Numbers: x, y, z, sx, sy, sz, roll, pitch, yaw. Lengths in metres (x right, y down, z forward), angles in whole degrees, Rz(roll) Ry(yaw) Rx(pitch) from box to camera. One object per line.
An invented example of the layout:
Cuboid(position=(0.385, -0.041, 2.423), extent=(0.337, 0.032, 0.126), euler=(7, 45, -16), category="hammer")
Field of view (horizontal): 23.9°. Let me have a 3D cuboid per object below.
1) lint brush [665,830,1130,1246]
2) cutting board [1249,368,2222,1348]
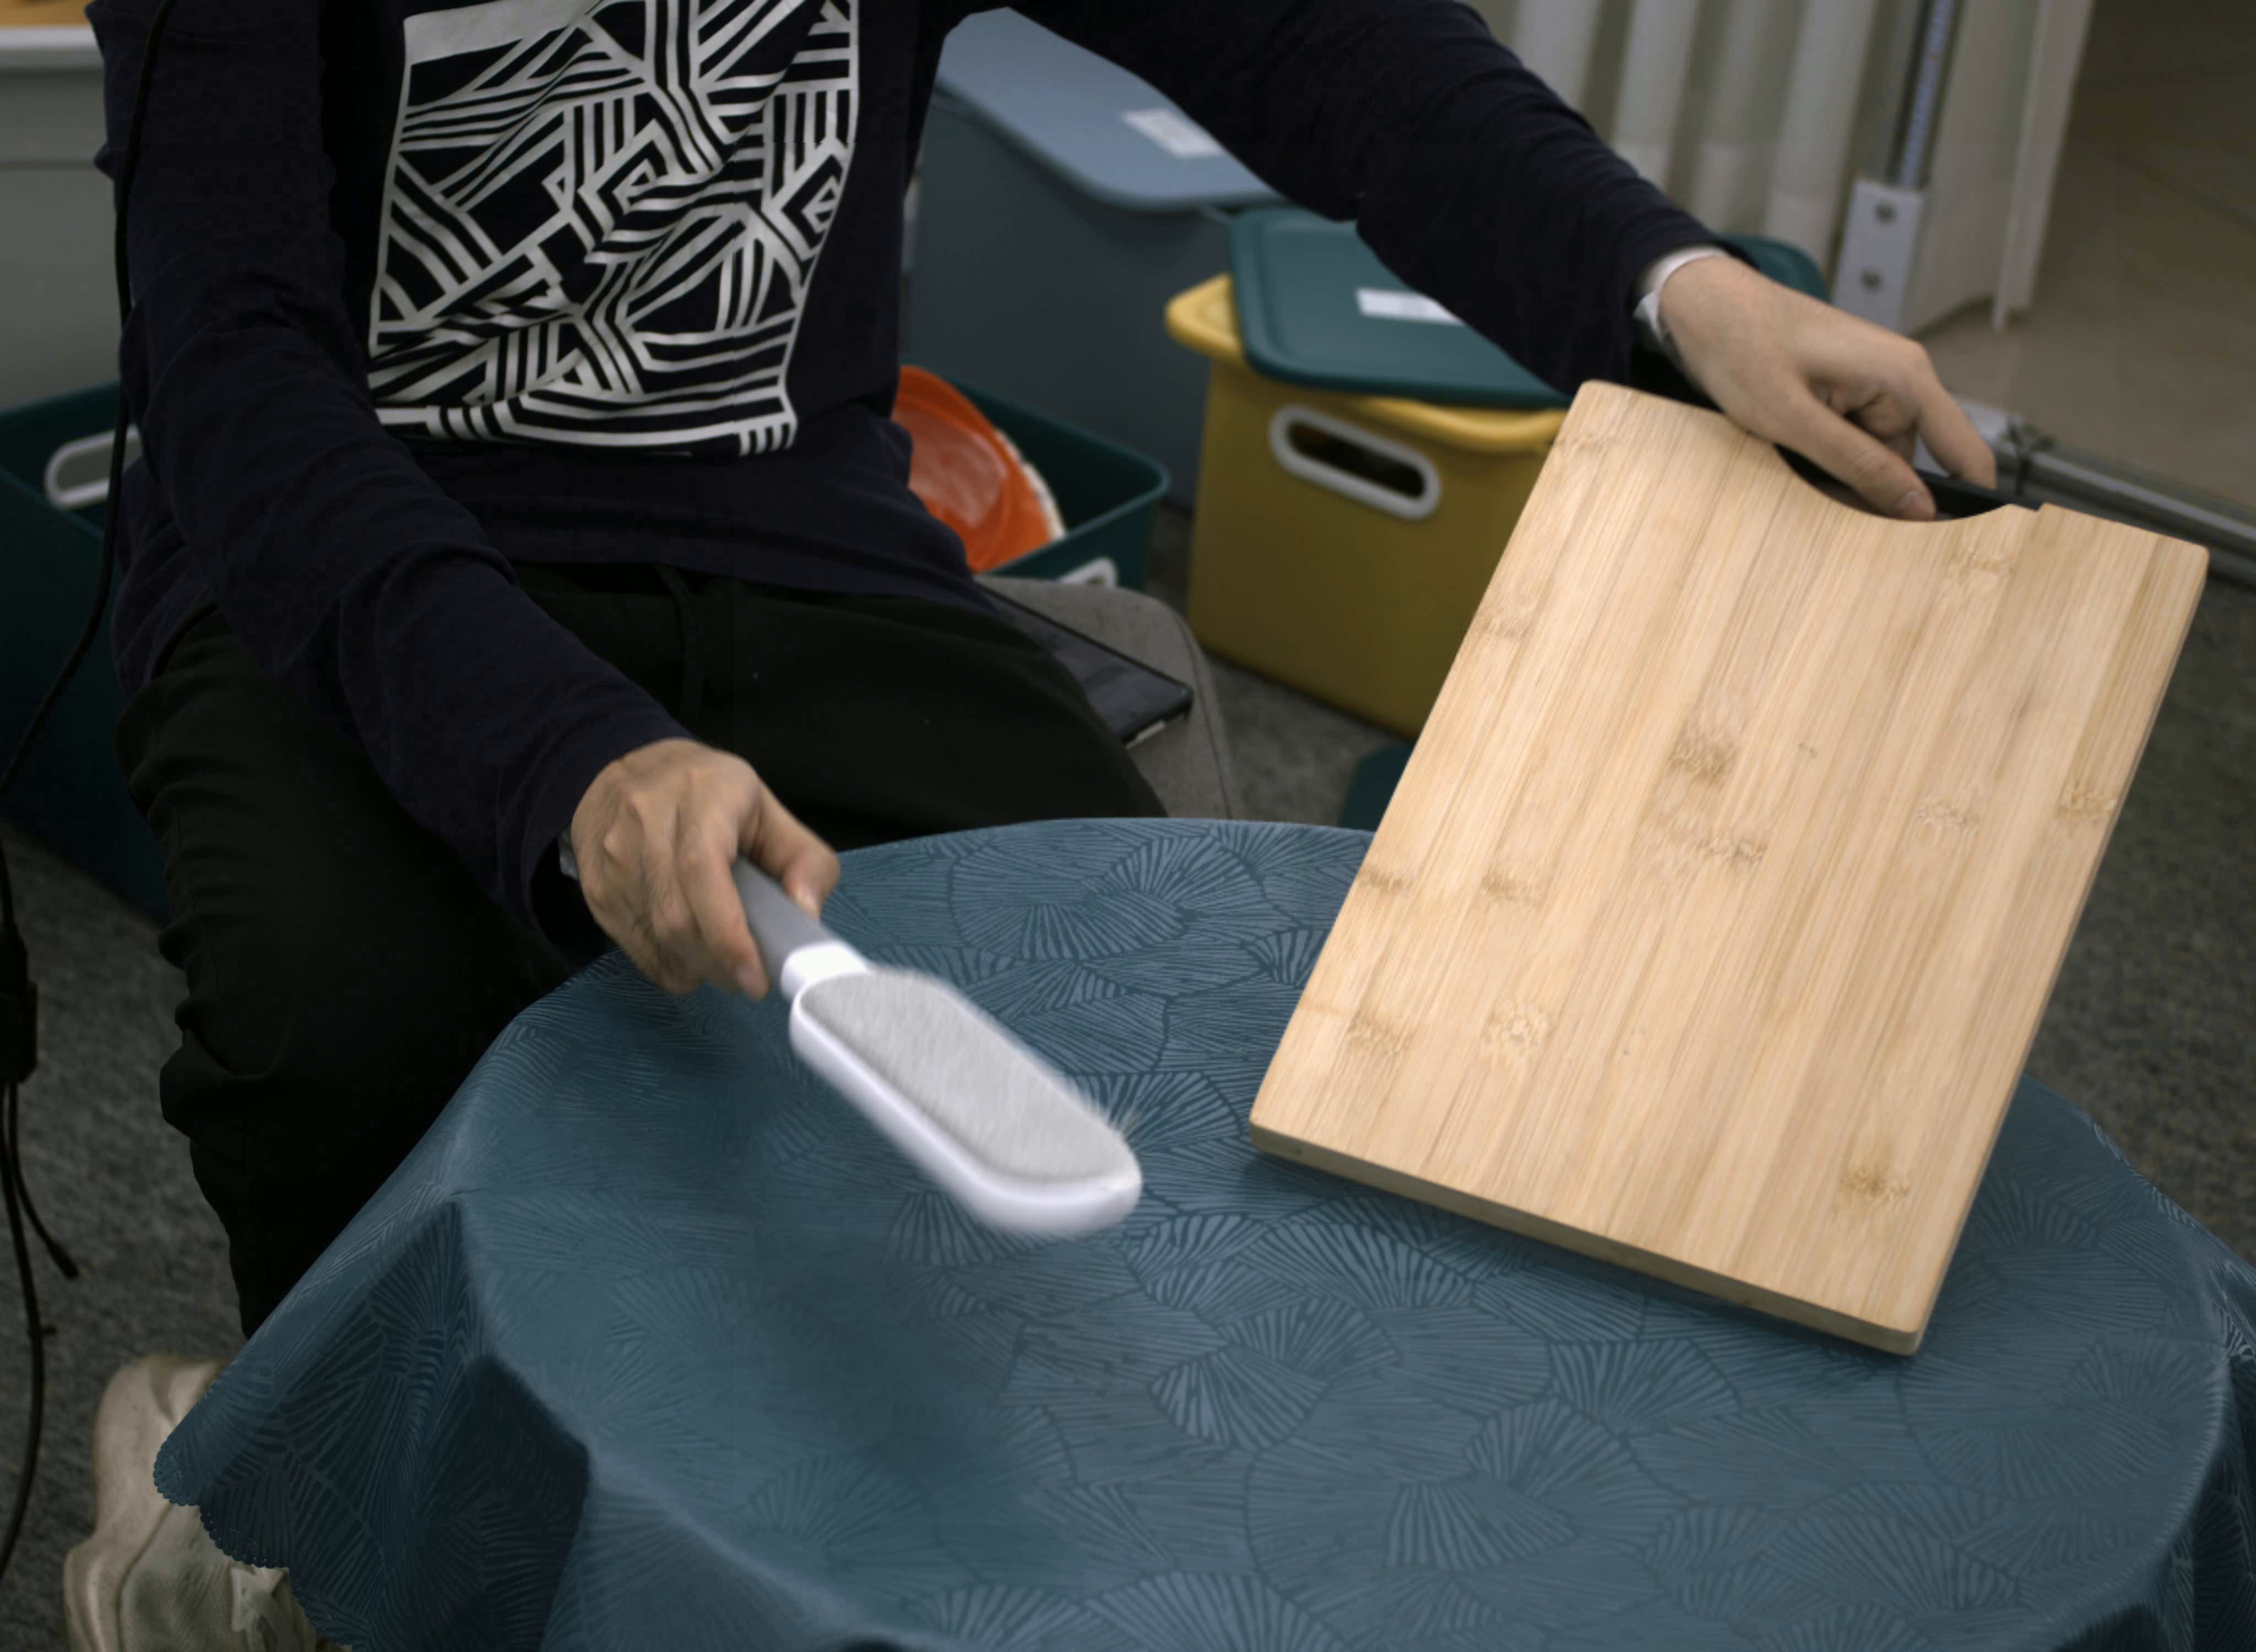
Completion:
Cuboid(position=(-0.083, 0.064, 1.735), extent=(0.060, 0.021, 0.311), euler=(-13, 27, -24), category="lint brush")
Cuboid(position=(0.217, 0.002, 1.874), extent=(0.251, 0.023, 0.350), euler=(16, 59, 16), category="cutting board")
